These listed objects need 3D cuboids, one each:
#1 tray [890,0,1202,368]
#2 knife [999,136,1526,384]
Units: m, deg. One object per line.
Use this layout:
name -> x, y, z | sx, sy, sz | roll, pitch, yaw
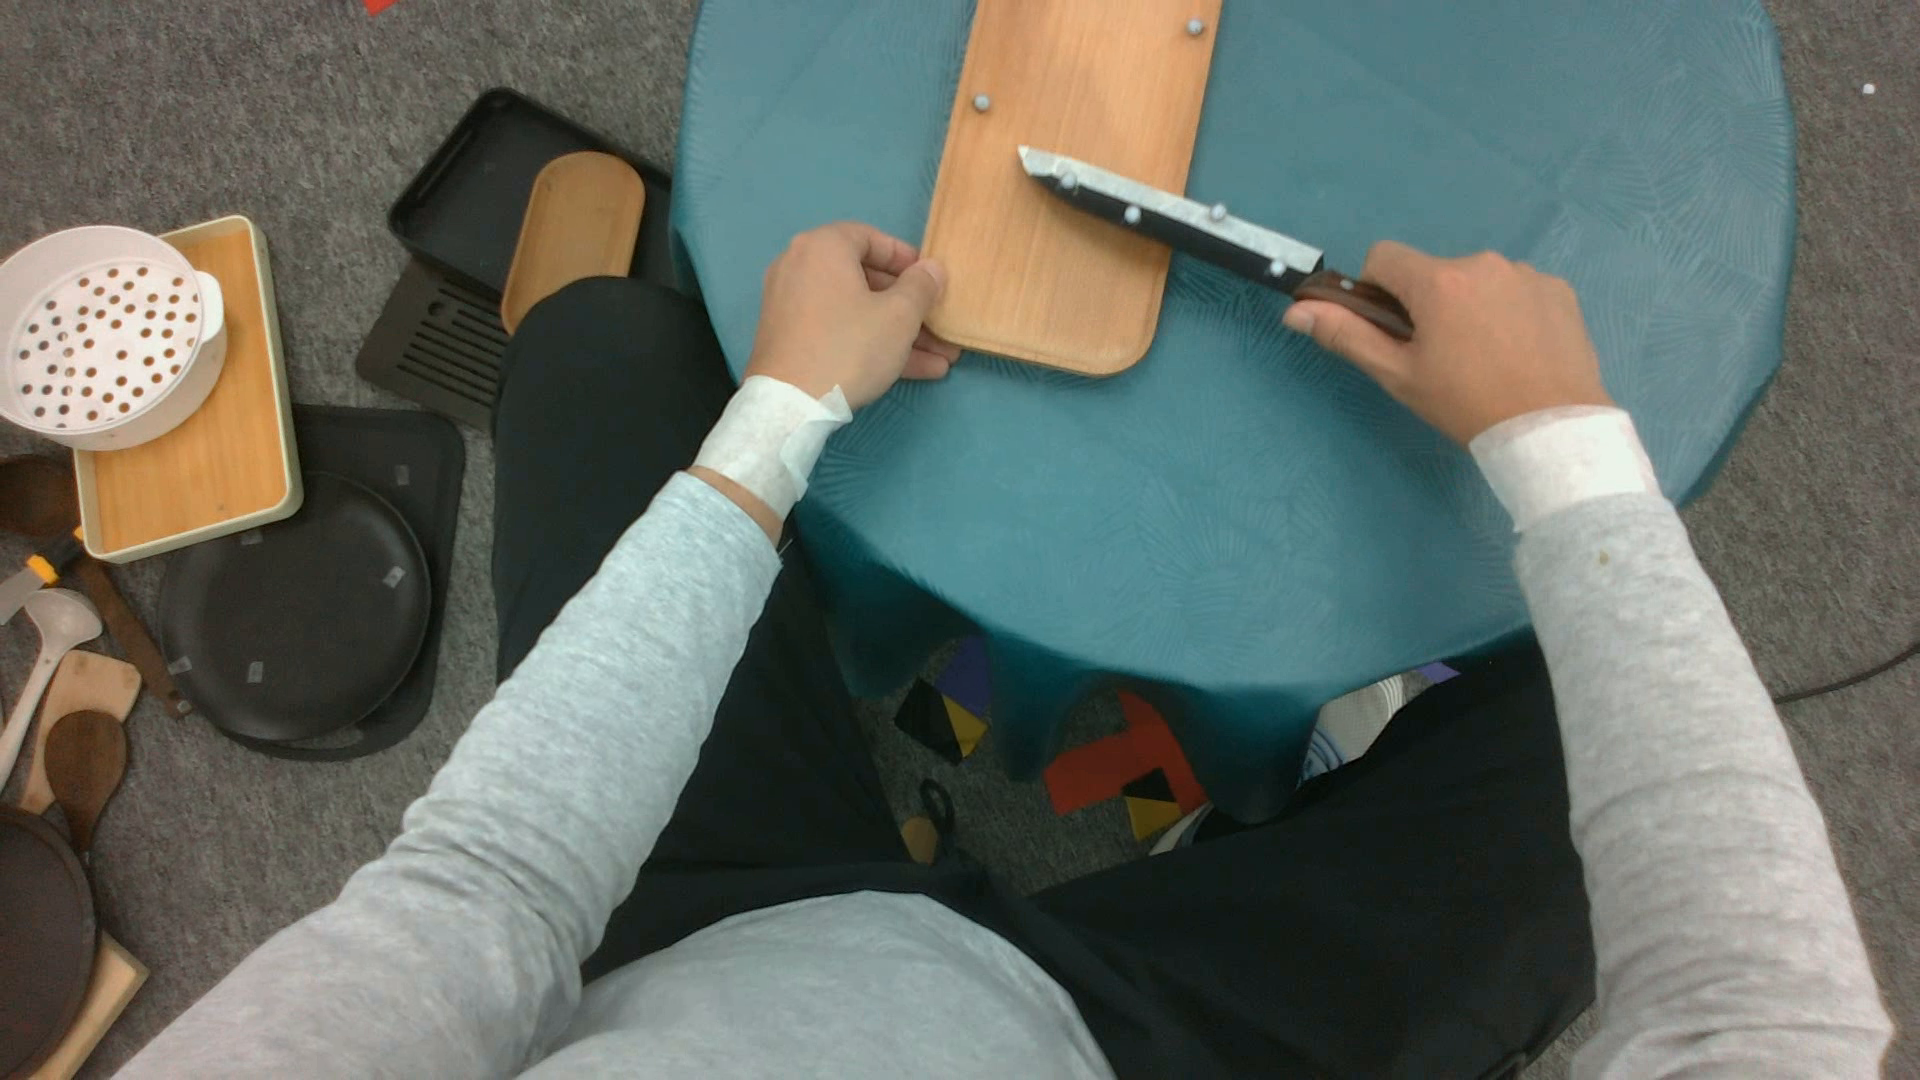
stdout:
tray -> 0.048, -0.215, 0.728 | 0.130, 0.023, 0.251 | 13, 79, 2
knife -> 0.147, -0.146, 0.694 | 0.289, 0.020, 0.050 | 27, 47, 11
